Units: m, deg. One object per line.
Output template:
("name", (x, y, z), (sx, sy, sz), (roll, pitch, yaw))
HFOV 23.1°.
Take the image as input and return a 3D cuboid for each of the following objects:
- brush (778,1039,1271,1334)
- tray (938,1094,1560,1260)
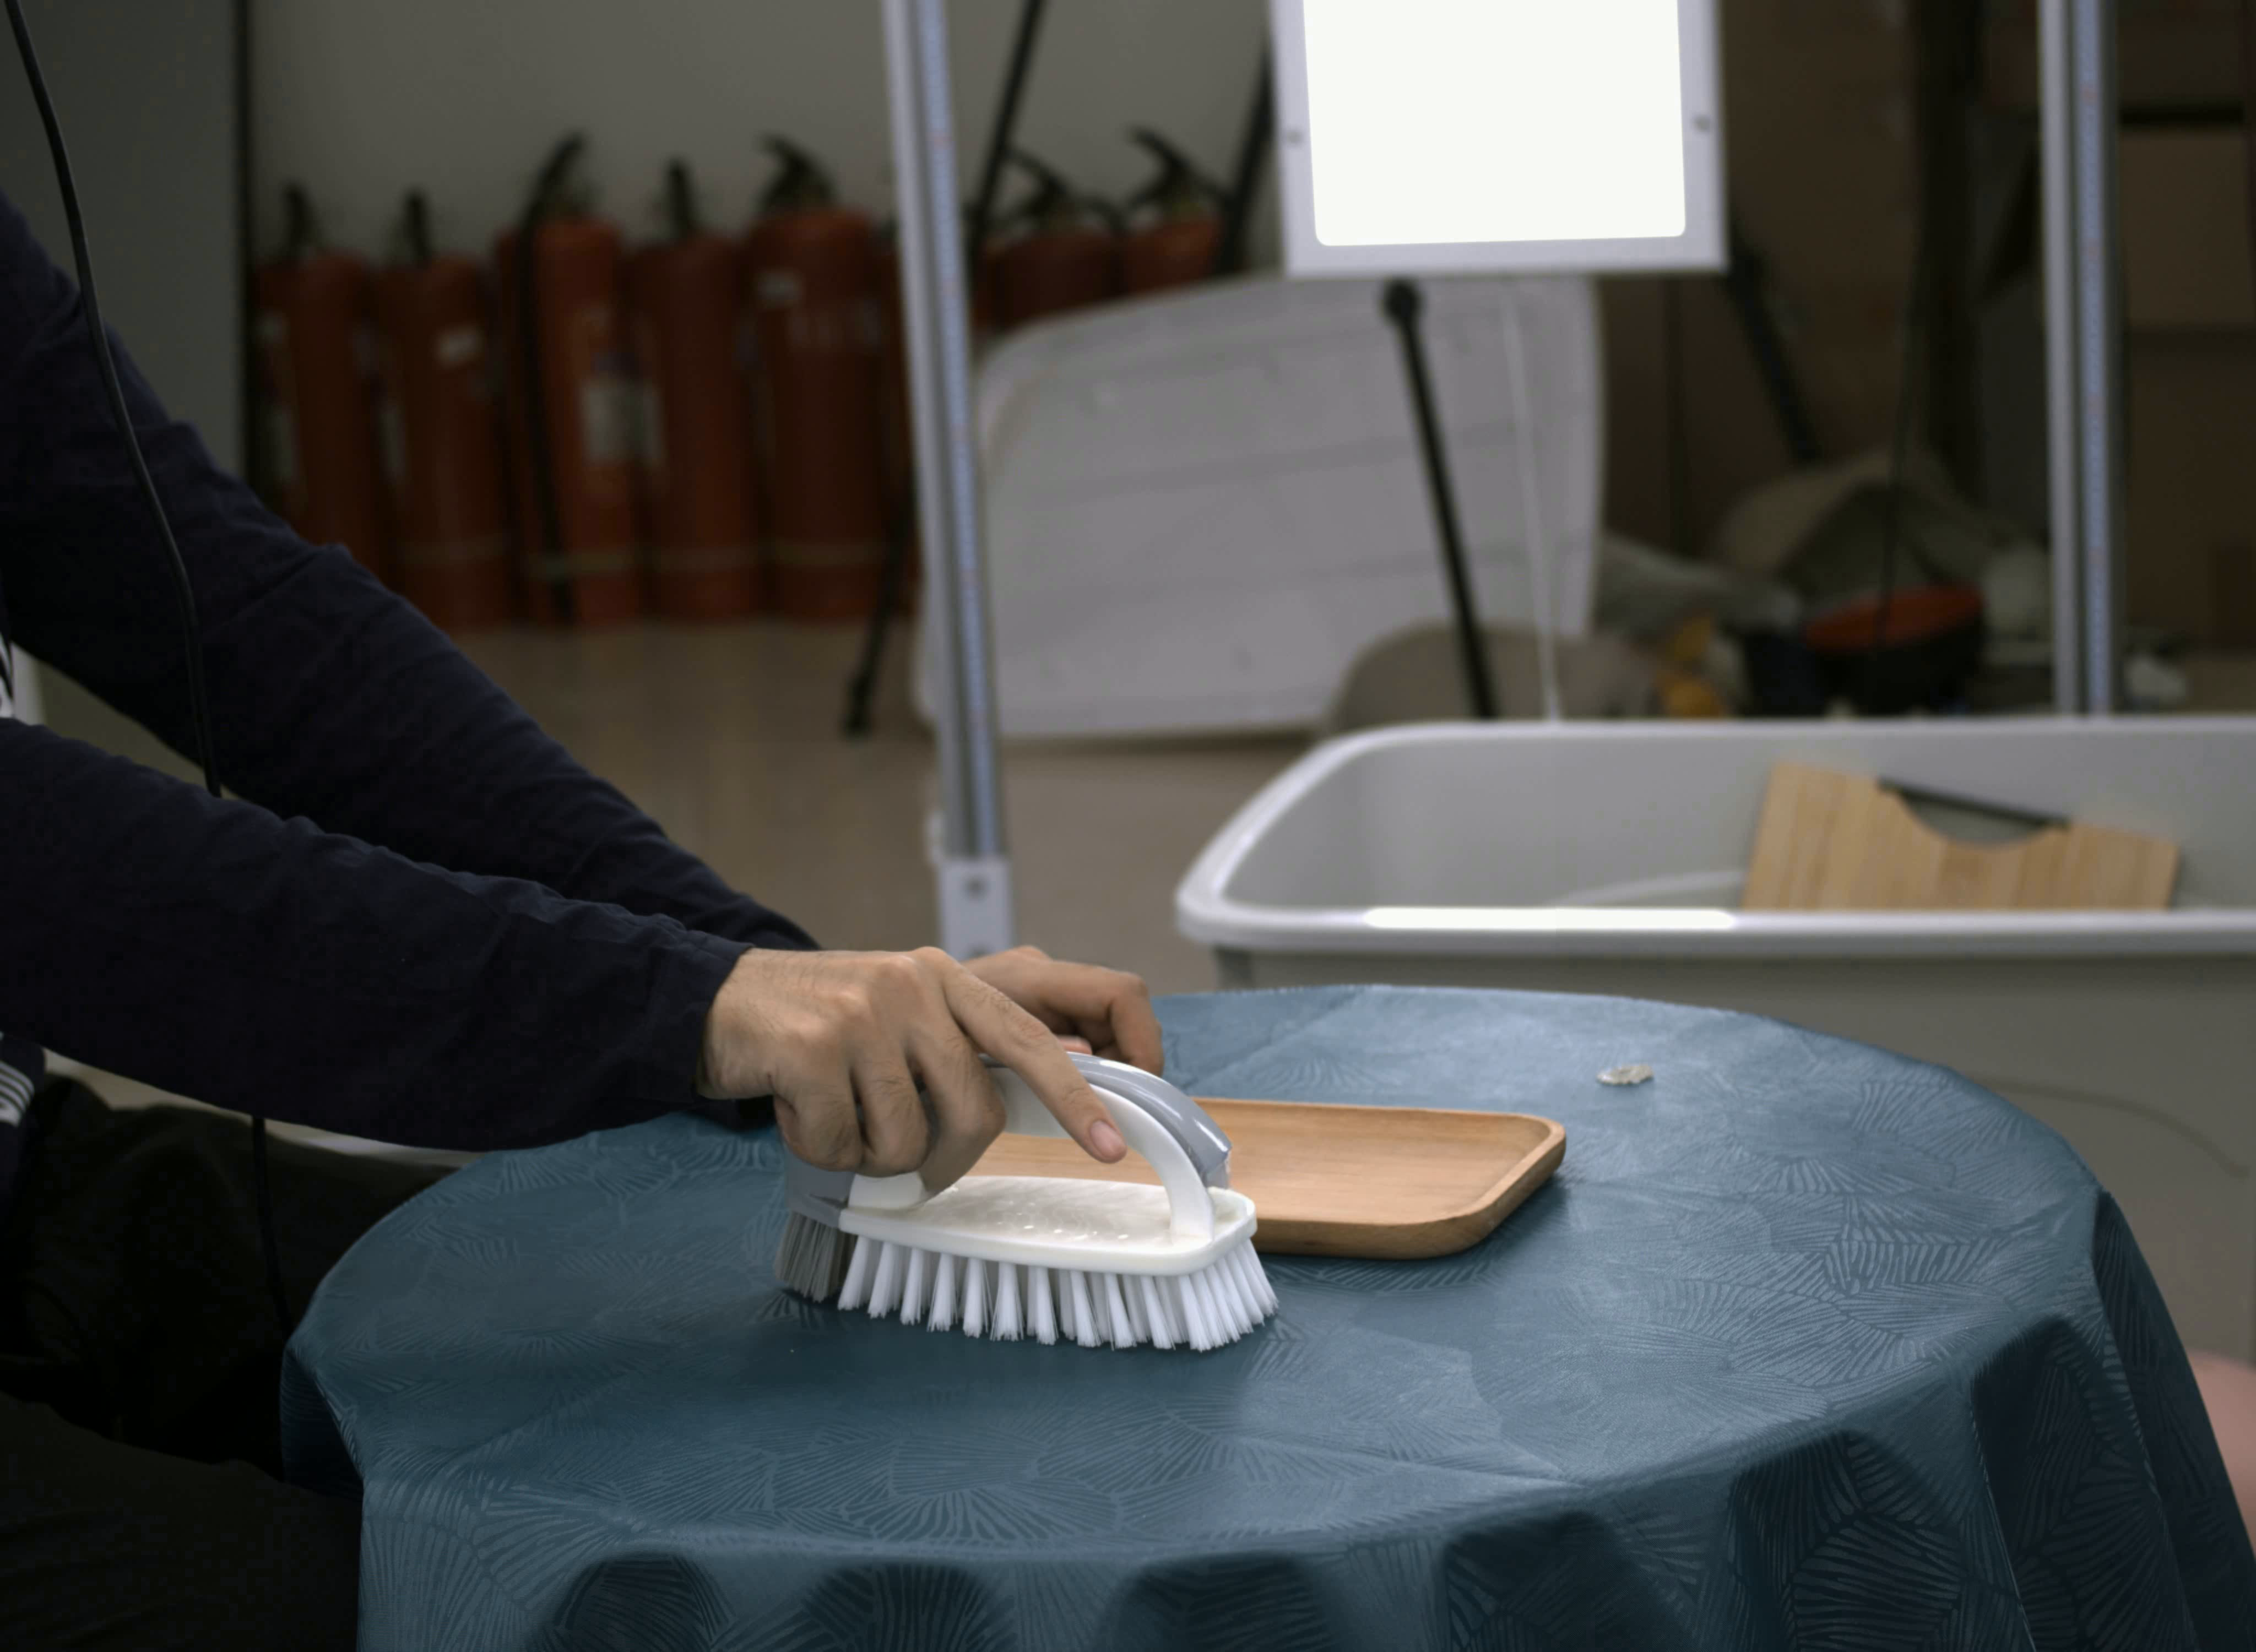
("brush", (-0.042, 0.115, 1.771), (0.179, 0.094, 0.060), (1, 14, 31))
("tray", (0.018, 0.118, 1.892), (0.255, 0.023, 0.128), (1, 12, 27))
